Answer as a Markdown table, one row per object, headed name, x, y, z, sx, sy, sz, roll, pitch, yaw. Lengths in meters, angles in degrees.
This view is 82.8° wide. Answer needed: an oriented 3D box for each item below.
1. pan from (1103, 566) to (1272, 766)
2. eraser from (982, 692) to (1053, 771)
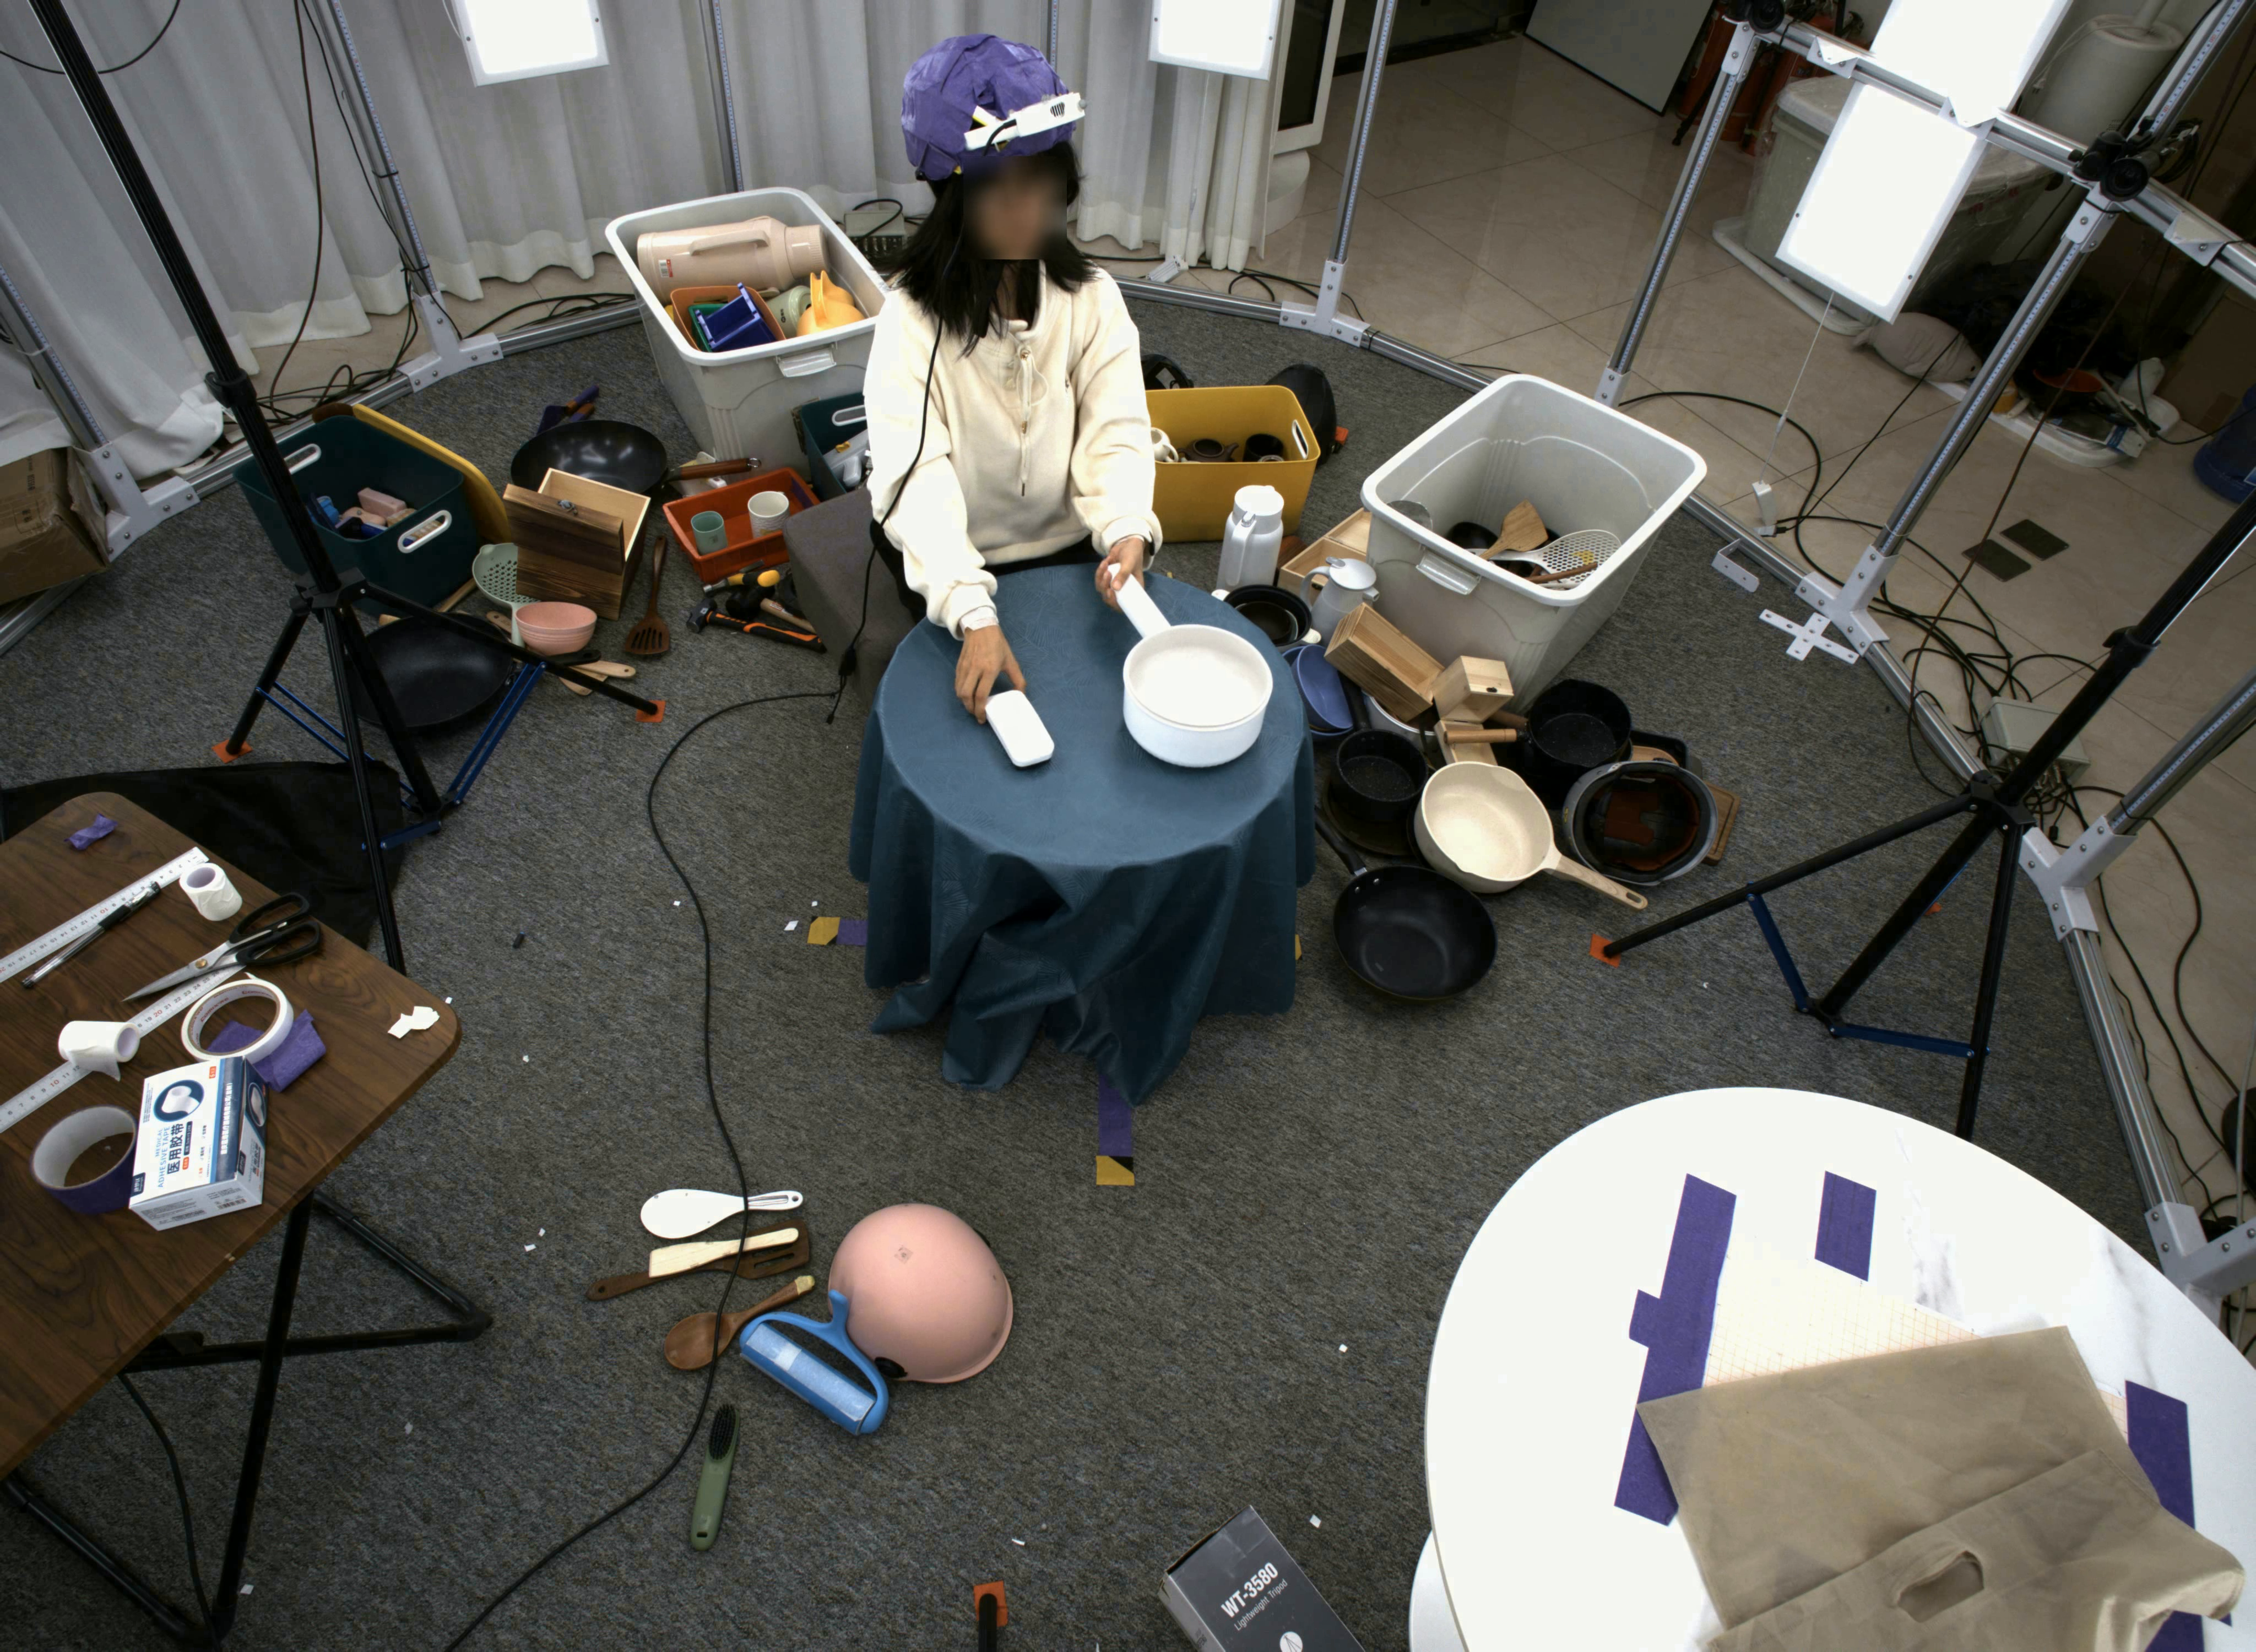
| name | x | y | z | sx | sy | sz | roll | pitch | yaw |
| --- | --- | --- | --- | --- | --- | --- | --- | --- | --- |
| pan | 0.056 | -0.226 | 1.806 | 0.201 | 0.099 | 0.363 | -18 | 51 | -20 |
| eraser | -0.151 | -0.133 | 1.755 | 0.063 | 0.034 | 0.134 | -15 | 52 | -22 |
